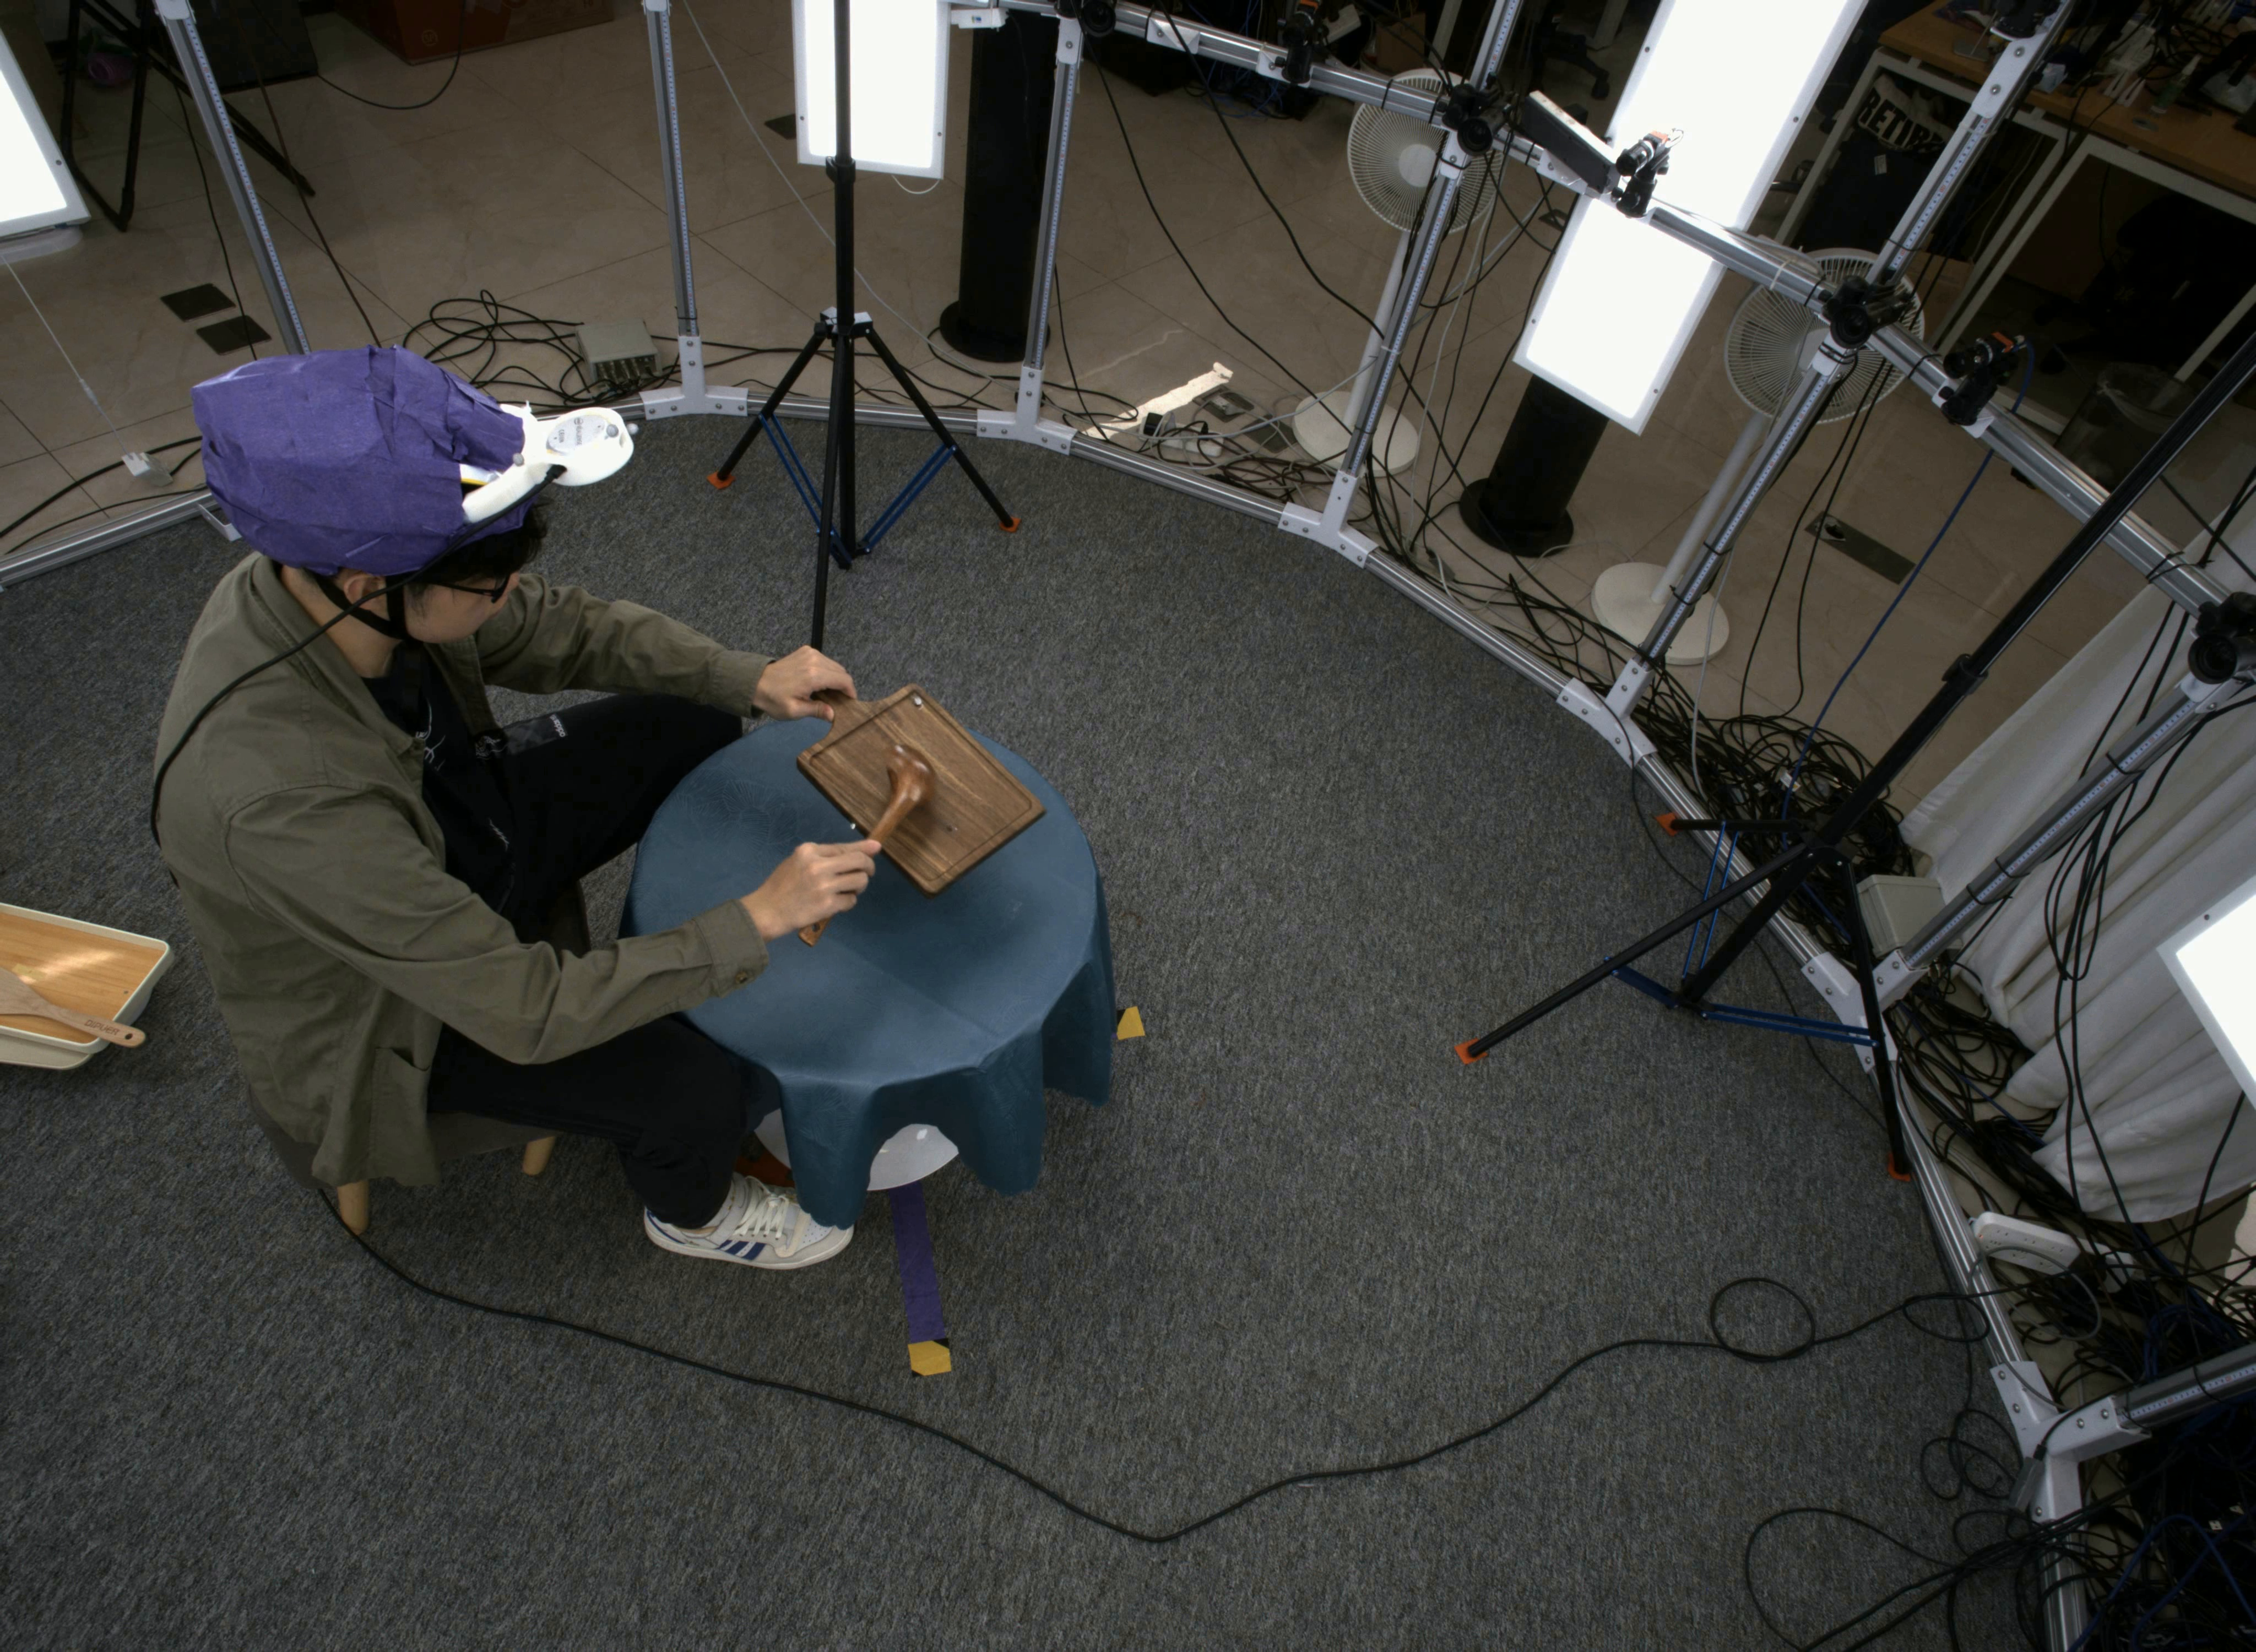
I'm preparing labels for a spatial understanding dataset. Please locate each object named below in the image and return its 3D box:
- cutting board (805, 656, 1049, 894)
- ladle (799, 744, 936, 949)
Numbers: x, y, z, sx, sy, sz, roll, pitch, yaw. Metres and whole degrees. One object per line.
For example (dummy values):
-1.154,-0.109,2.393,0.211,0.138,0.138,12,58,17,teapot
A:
-0.283,-0.090,1.630,0.347,0.023,0.201,45,58,11,cutting board
-0.314,0.020,1.517,0.084,0.074,0.274,42,67,-27,ladle
